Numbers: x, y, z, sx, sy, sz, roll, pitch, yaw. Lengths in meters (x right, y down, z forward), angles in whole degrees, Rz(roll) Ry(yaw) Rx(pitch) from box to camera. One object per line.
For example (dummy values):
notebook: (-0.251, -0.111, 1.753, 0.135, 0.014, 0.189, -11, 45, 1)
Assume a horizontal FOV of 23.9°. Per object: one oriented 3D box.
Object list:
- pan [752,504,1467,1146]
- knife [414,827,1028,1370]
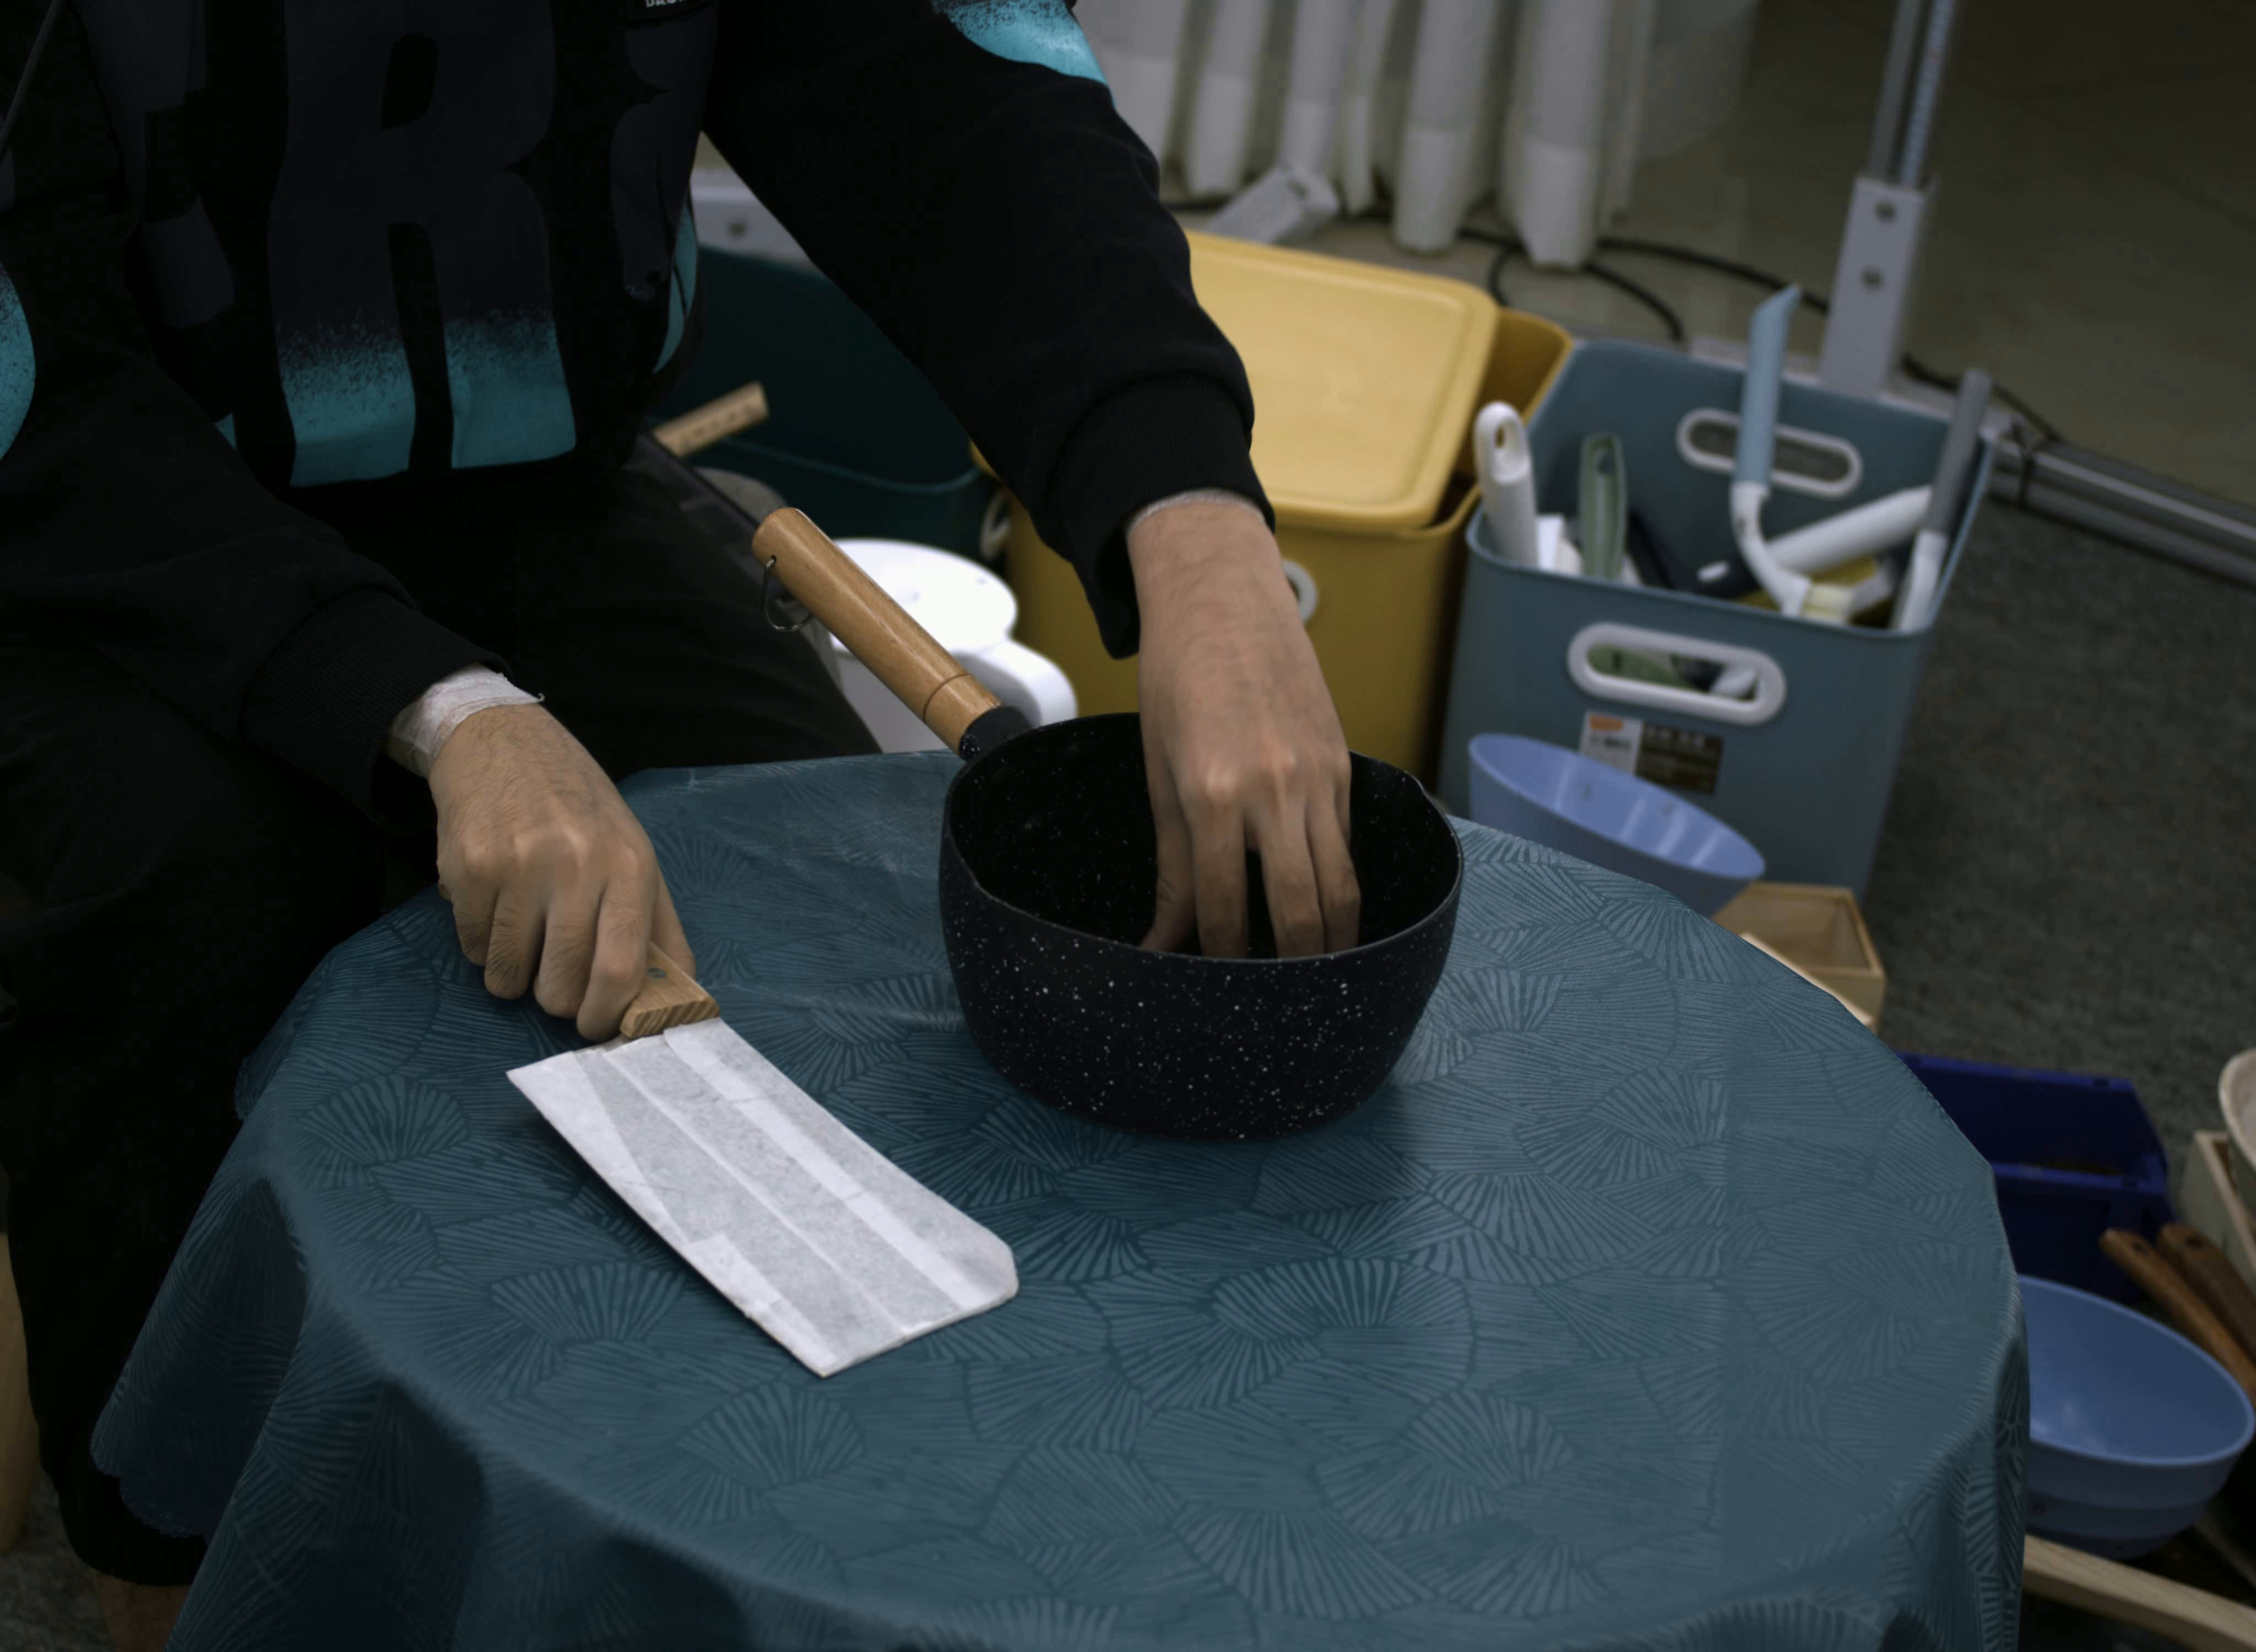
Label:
pan: (-0.029, -0.004, 1.925, 0.206, 0.108, 0.345, -19, 38, -39)
knife: (-0.151, 0.088, 1.808, 0.113, 0.021, 0.318, -13, 37, -34)
